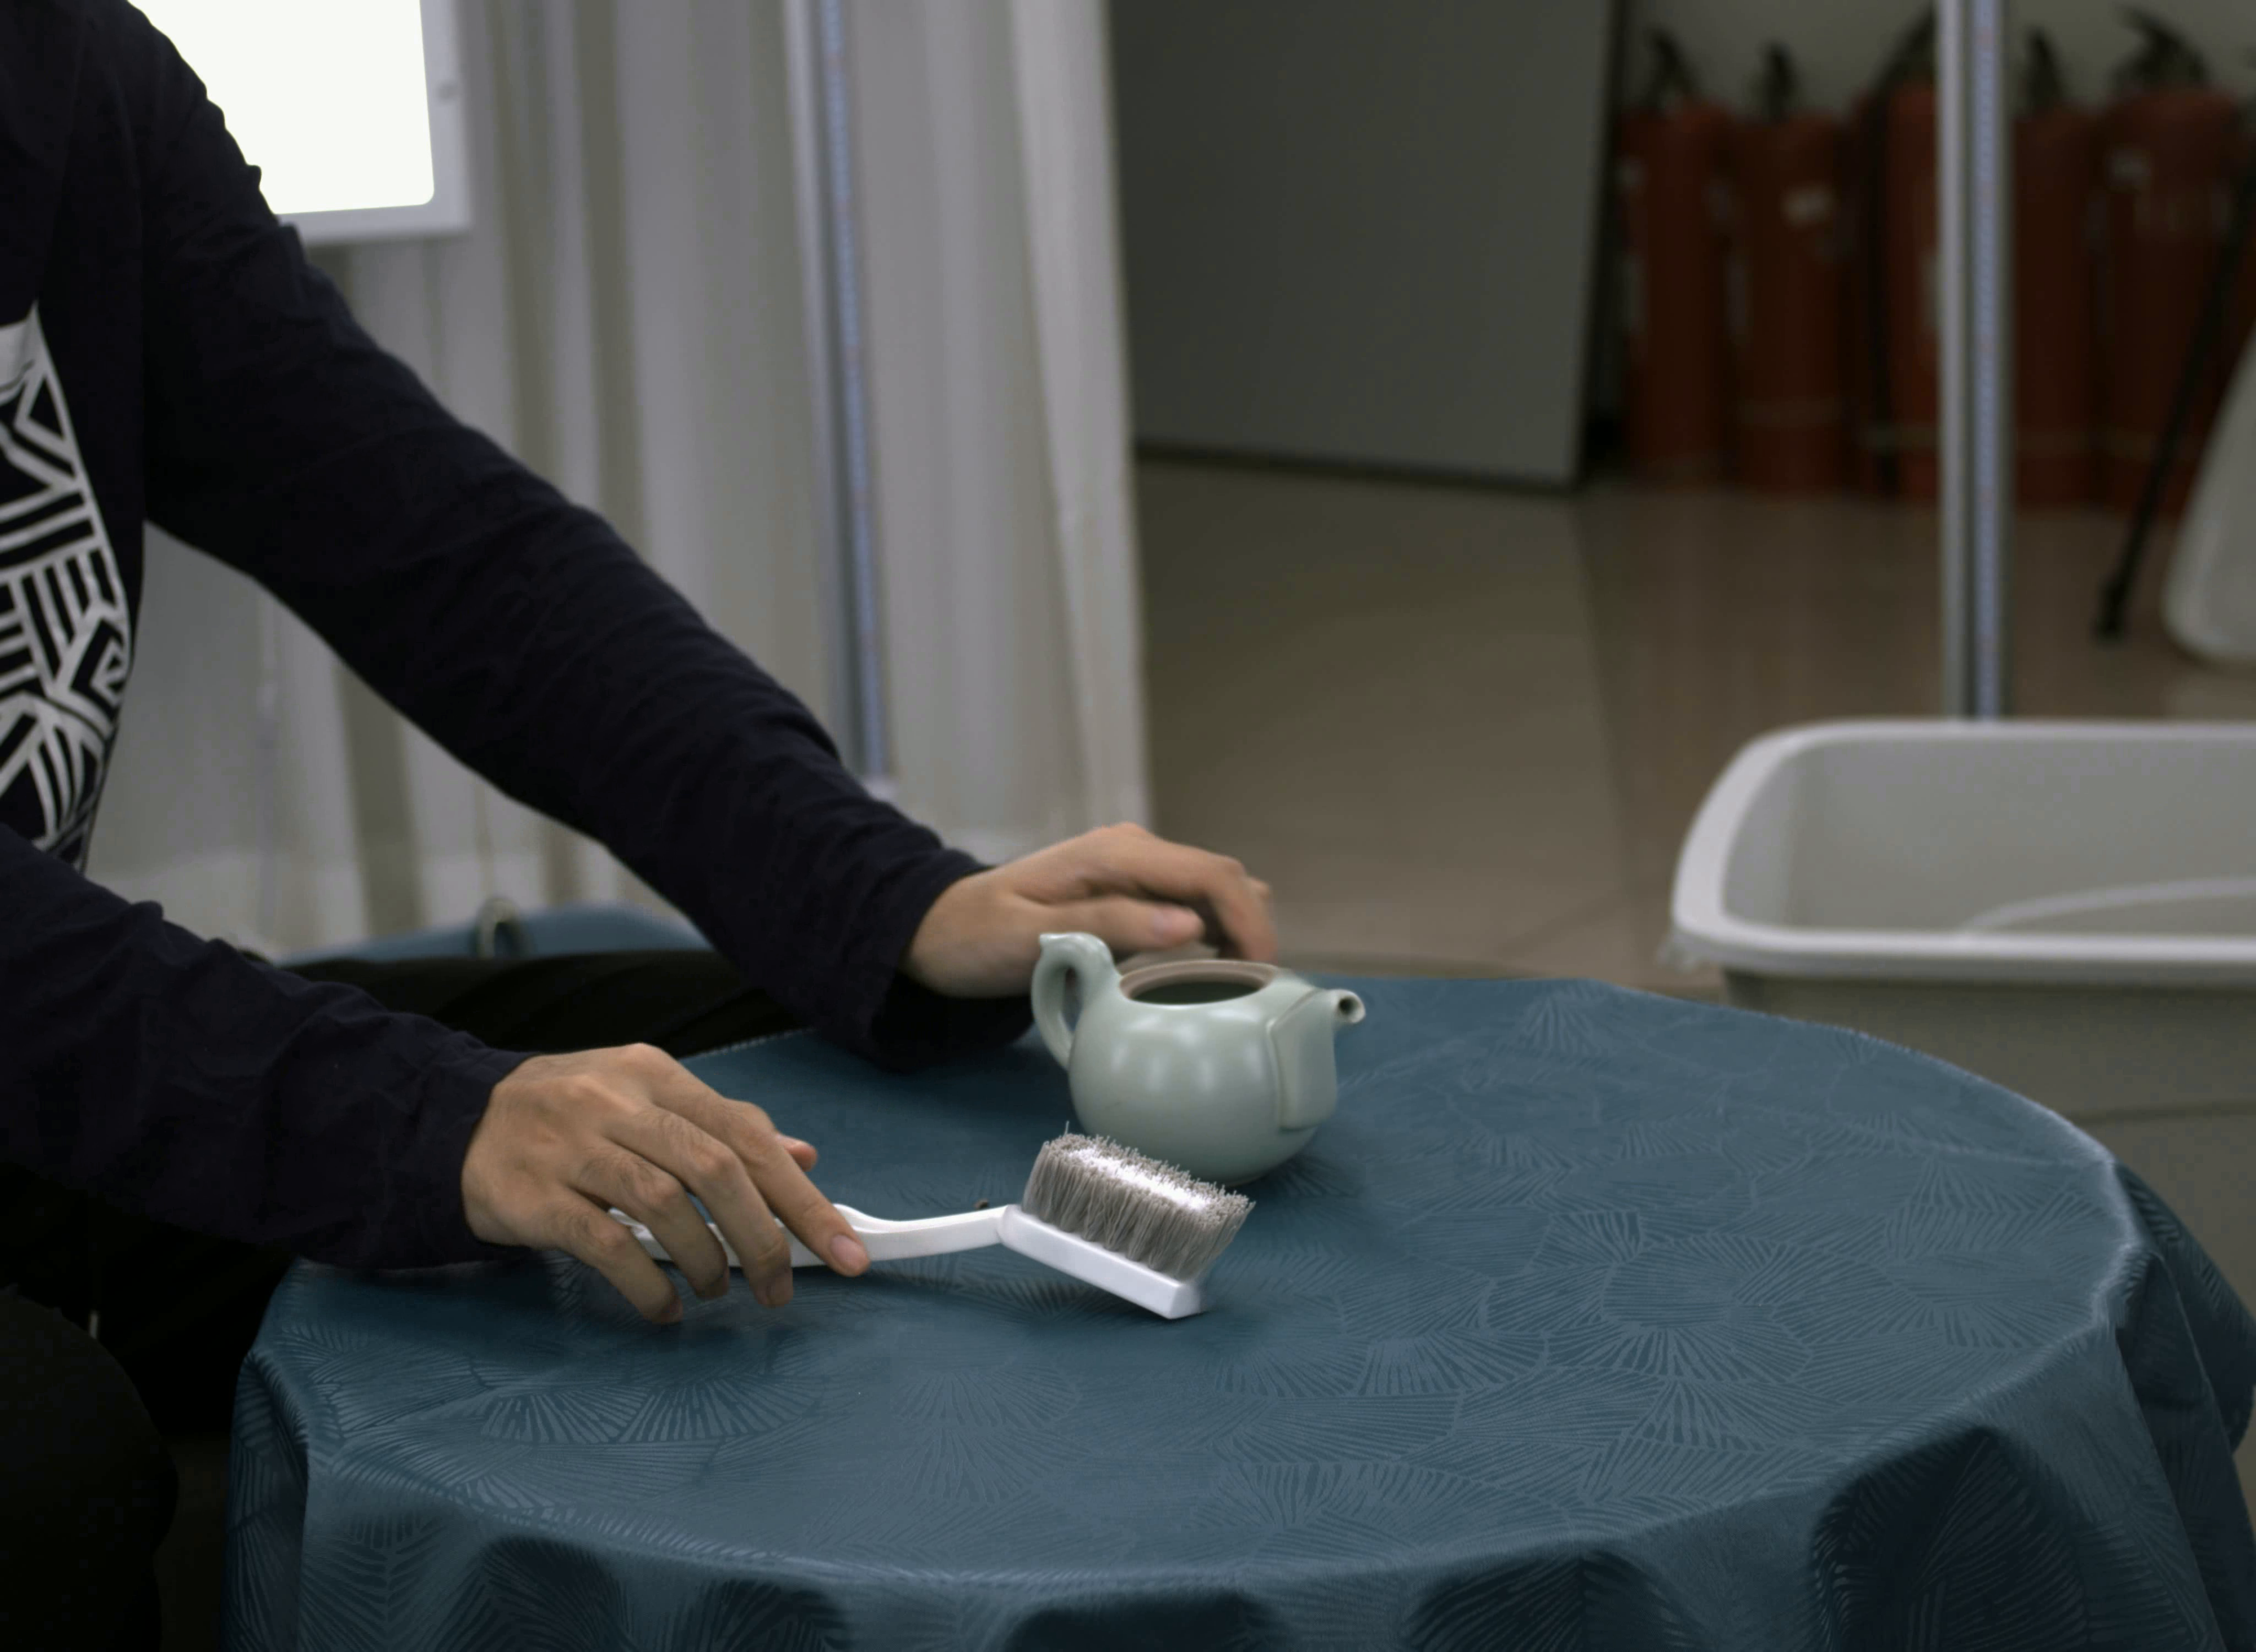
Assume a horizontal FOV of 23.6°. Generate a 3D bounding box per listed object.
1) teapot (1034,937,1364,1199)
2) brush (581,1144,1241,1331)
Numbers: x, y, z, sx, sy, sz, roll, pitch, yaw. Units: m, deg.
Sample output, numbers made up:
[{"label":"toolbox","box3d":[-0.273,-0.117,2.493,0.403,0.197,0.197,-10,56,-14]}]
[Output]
[{"label":"teapot","box3d":[0.025,0.081,1.781,0.086,0.075,0.145,-18,20,-42]},{"label":"brush","box3d":[-0.074,0.121,1.703,0.245,0.051,0.034,4,18,32]}]
